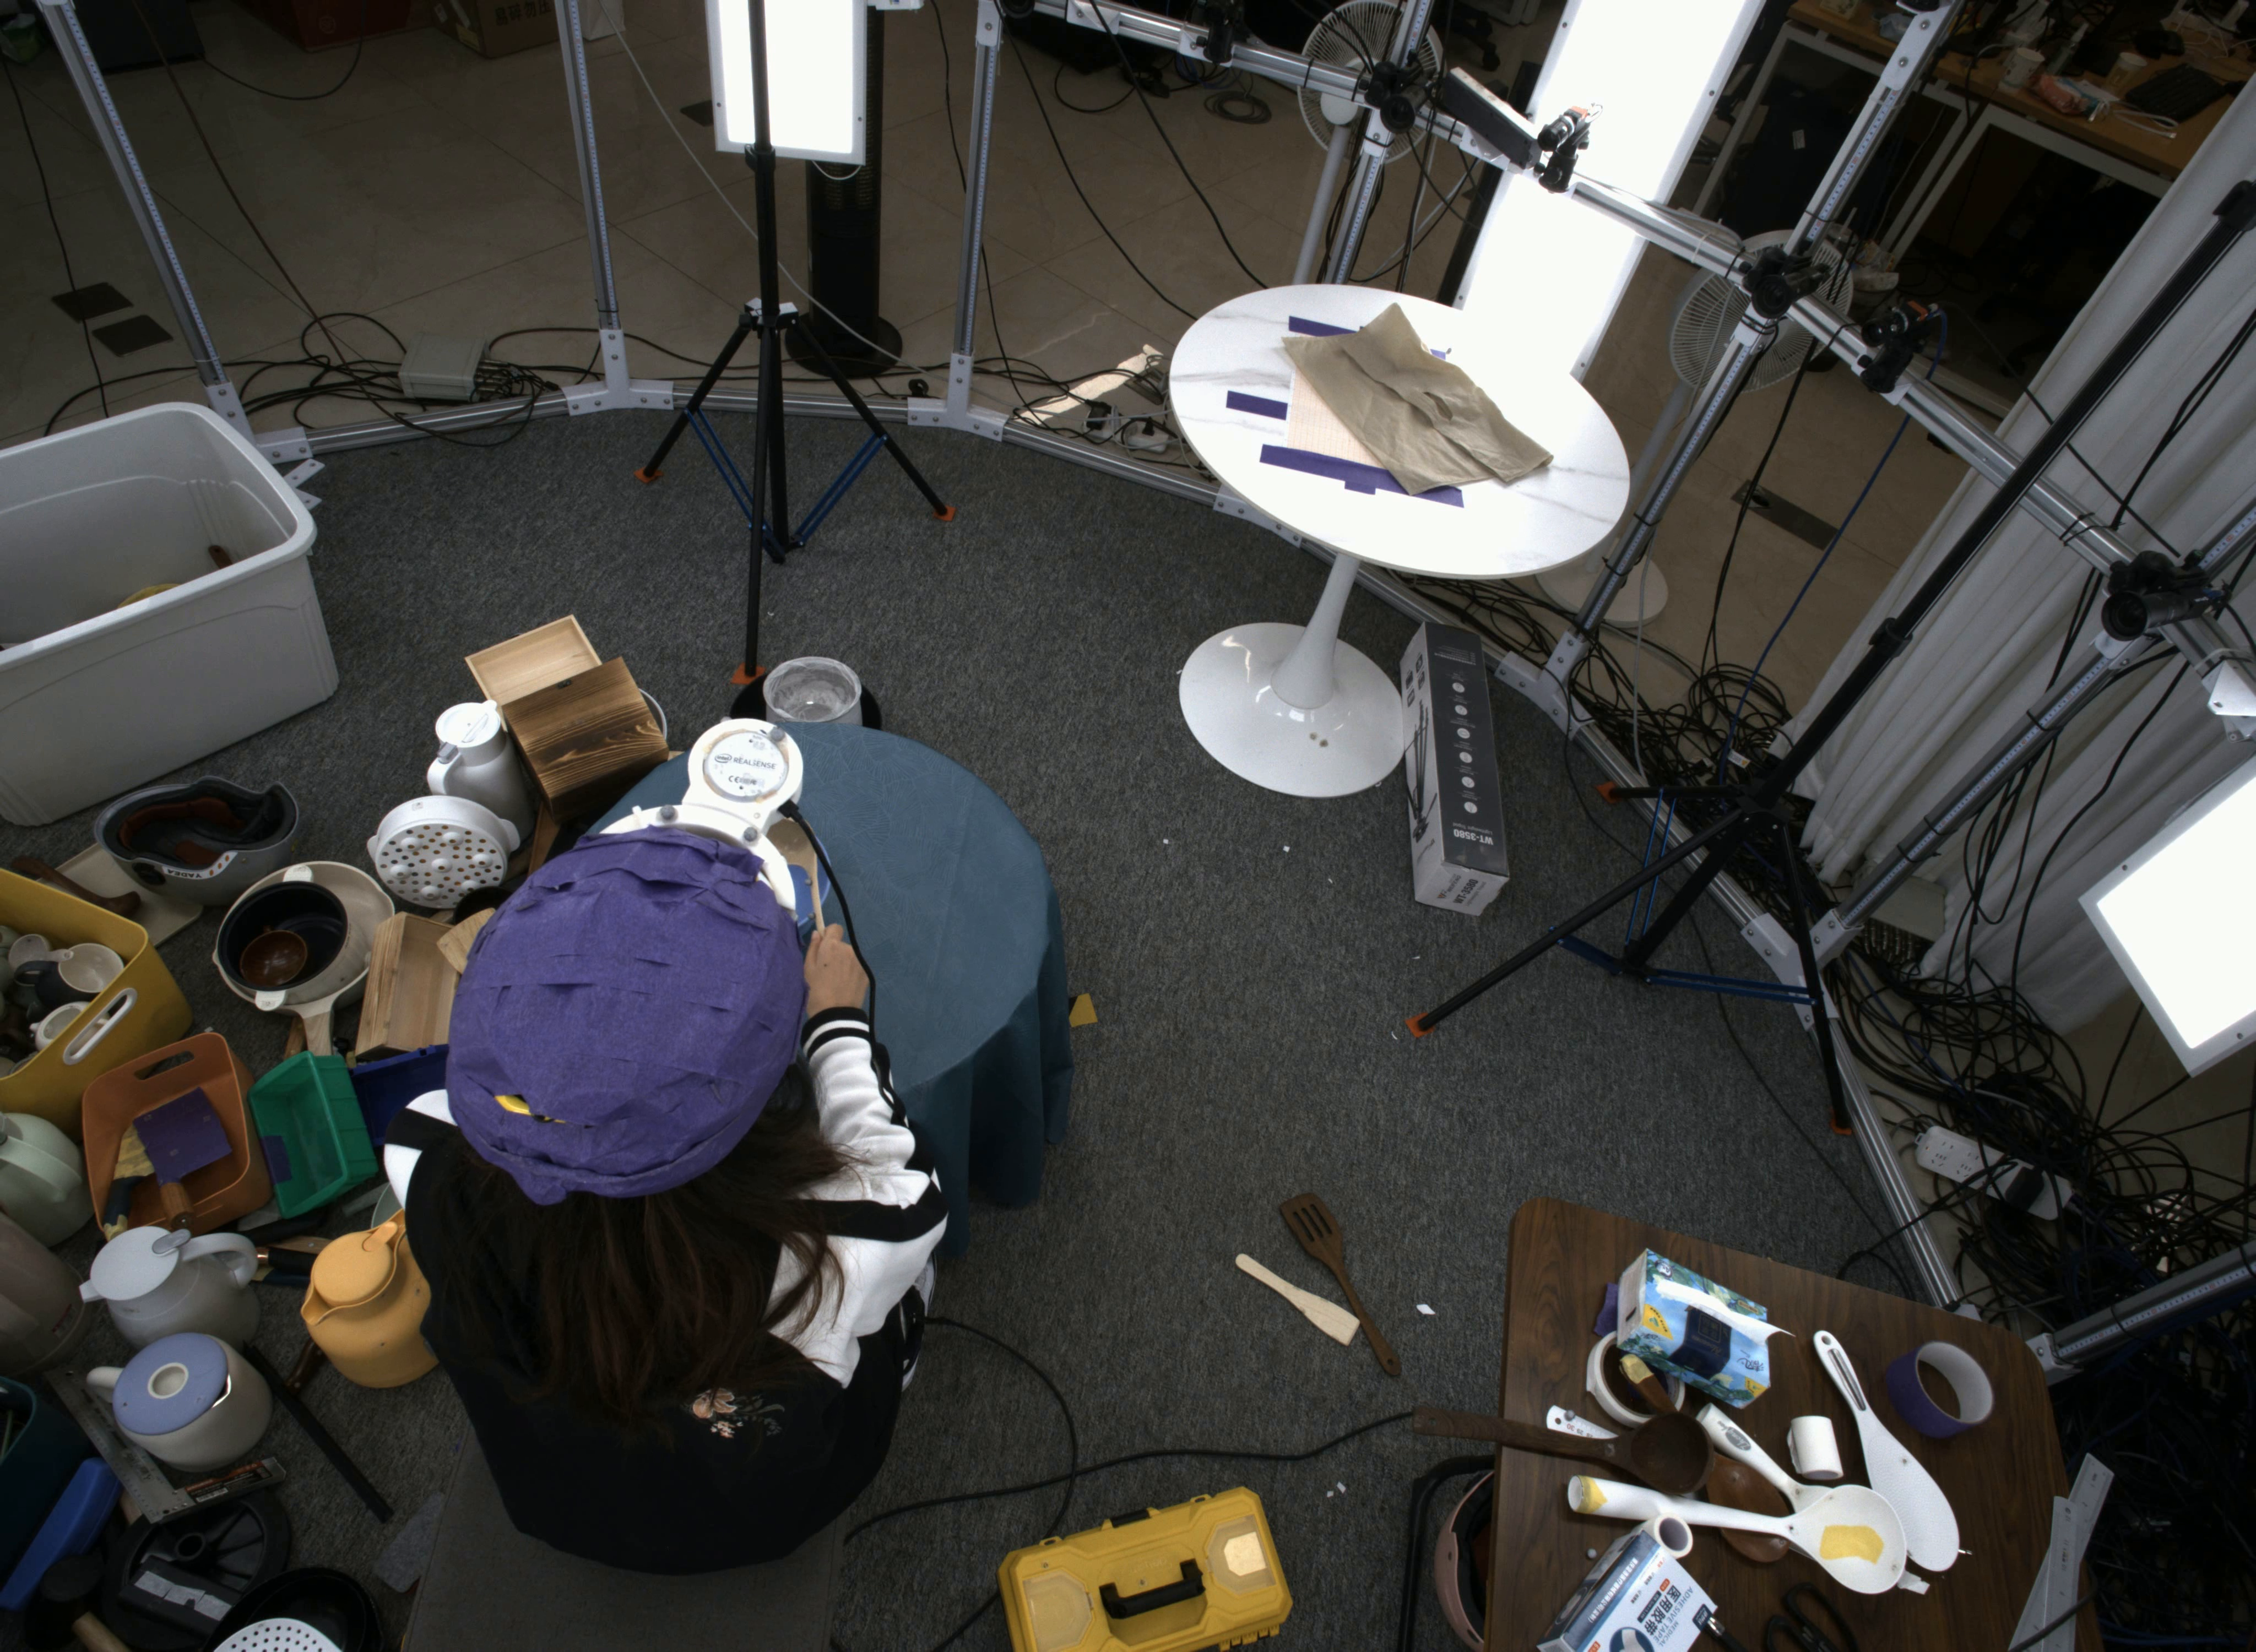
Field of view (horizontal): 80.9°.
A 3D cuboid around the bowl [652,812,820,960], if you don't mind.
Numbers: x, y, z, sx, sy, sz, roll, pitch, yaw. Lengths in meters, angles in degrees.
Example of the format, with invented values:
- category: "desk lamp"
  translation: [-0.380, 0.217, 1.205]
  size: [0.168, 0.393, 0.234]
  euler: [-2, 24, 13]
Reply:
- category: "bowl"
  translation: [-0.475, 0.087, 1.578]
  size: [0.196, 0.097, 0.193]
  euler: [8, 50, -8]

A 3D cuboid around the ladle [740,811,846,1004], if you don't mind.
- category: "ladle"
  translation: [-0.386, 0.089, 1.484]
  size: [0.075, 0.072, 0.248]
  euler: [24, 33, -52]
